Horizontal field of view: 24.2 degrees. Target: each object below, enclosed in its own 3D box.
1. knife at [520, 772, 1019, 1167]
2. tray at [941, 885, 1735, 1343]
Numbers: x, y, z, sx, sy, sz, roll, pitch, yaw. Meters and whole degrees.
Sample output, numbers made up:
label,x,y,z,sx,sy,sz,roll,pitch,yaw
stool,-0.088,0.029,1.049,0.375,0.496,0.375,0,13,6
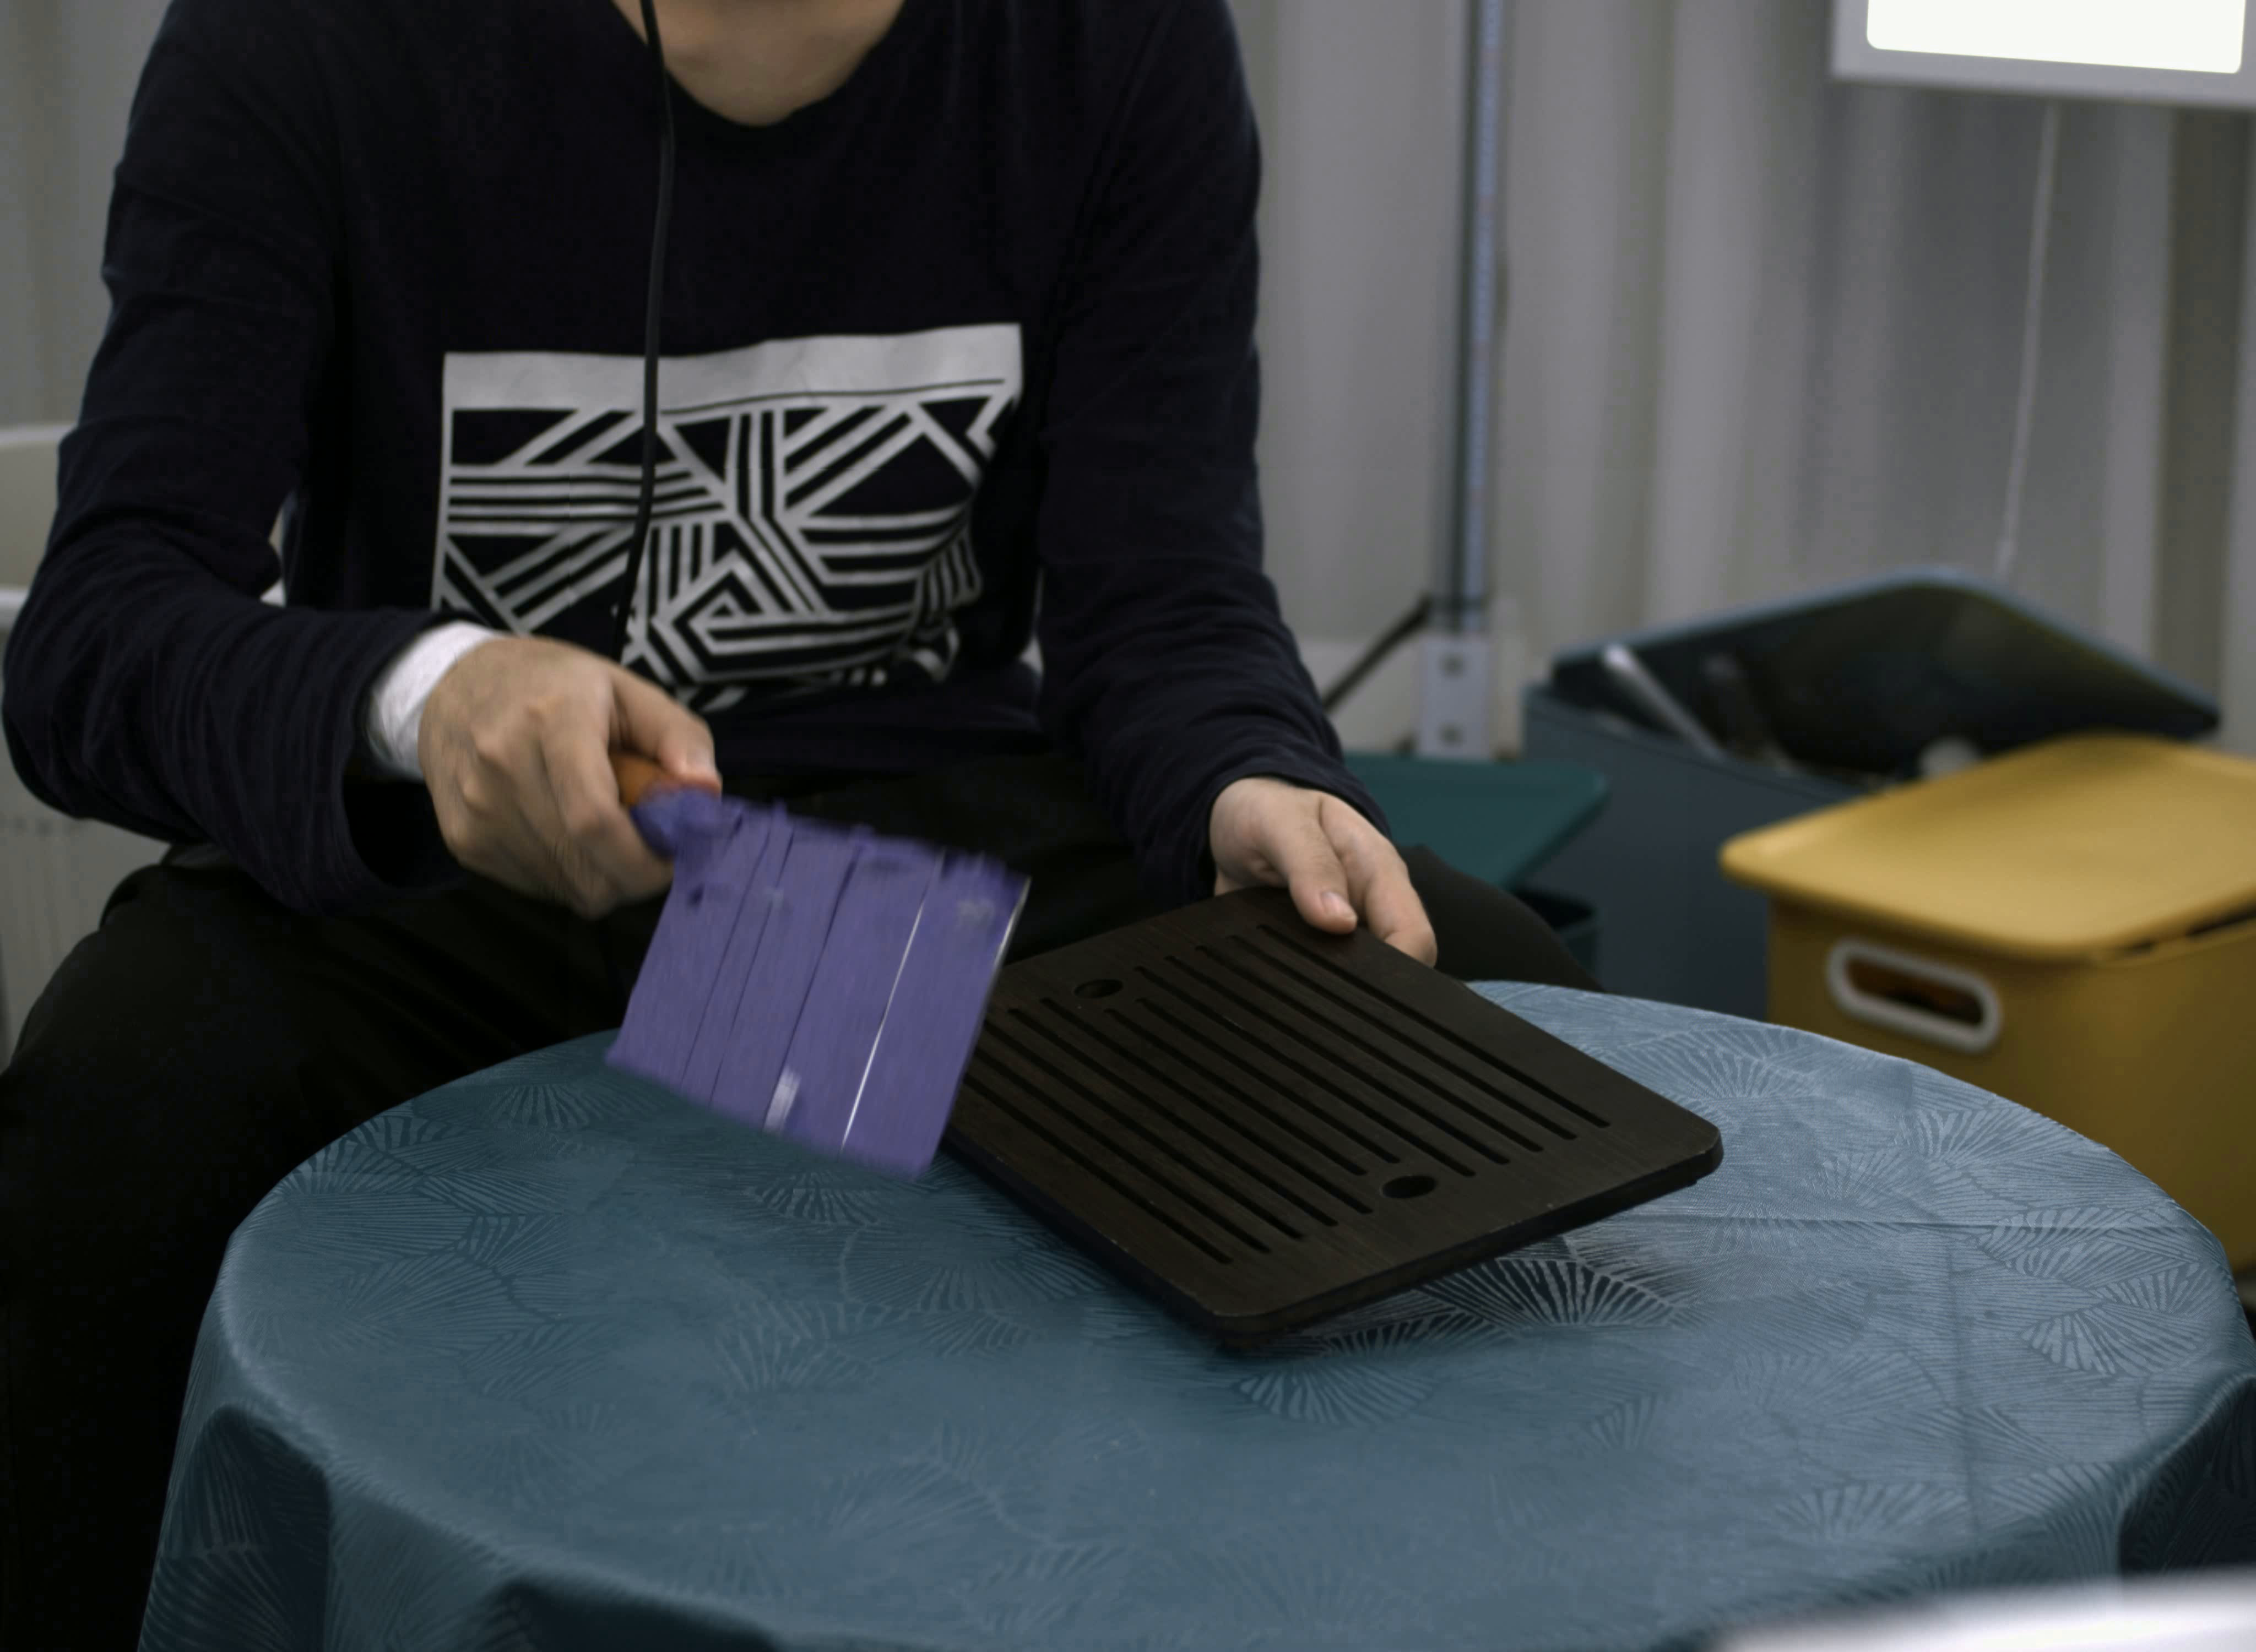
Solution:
label,x,y,z,sx,sy,sz,roll,pitch,yaw
knife,-0.123,0.041,1.591,0.032,0.104,0.312,22,-4,-29
tray,0.043,0.085,1.637,0.170,0.019,0.302,-18,21,-21
